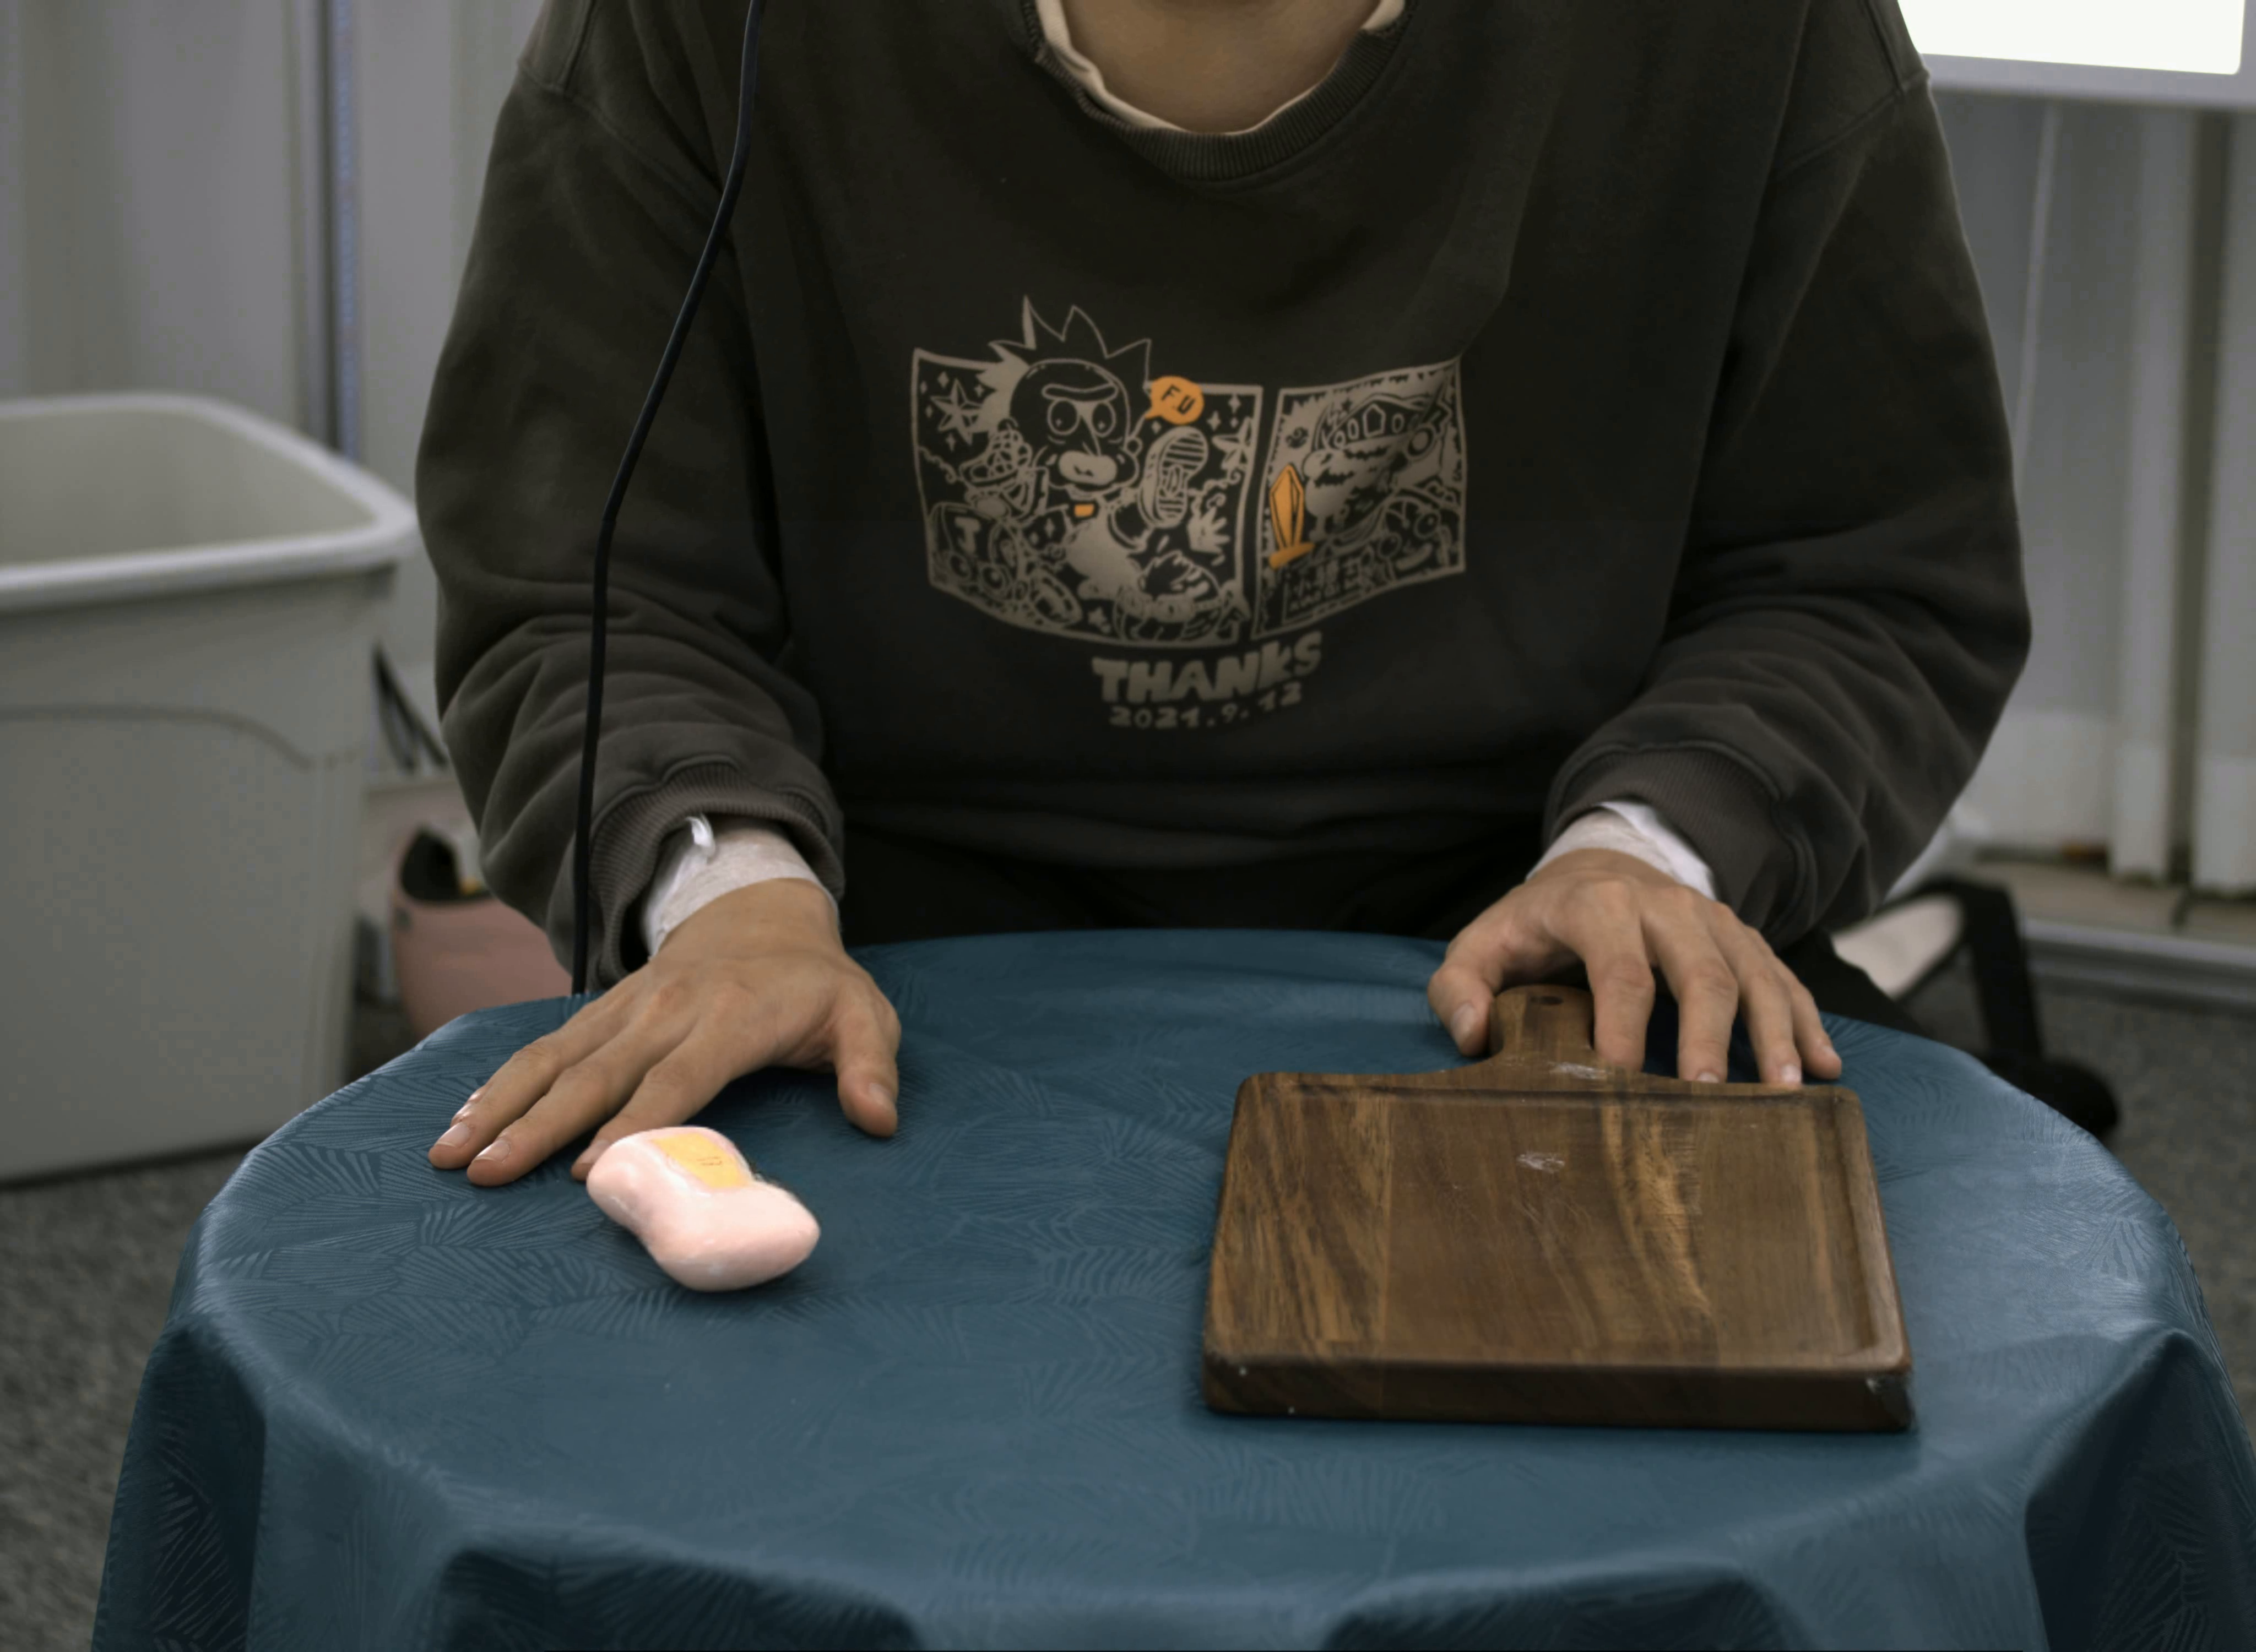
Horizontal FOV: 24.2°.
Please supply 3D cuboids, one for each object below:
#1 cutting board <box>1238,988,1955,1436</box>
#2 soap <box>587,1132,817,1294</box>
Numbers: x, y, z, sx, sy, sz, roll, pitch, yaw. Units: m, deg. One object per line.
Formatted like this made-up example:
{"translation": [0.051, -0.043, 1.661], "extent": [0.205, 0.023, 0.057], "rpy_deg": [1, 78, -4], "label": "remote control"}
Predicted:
{"translation": [0.140, 0.110, 1.605], "extent": [0.200, 0.023, 0.351], "rpy_deg": [2, 15, 4], "label": "cutting board"}
{"translation": [-0.127, 0.114, 1.567], "extent": [0.050, 0.030, 0.093], "rpy_deg": [-5, 15, -23], "label": "soap"}
